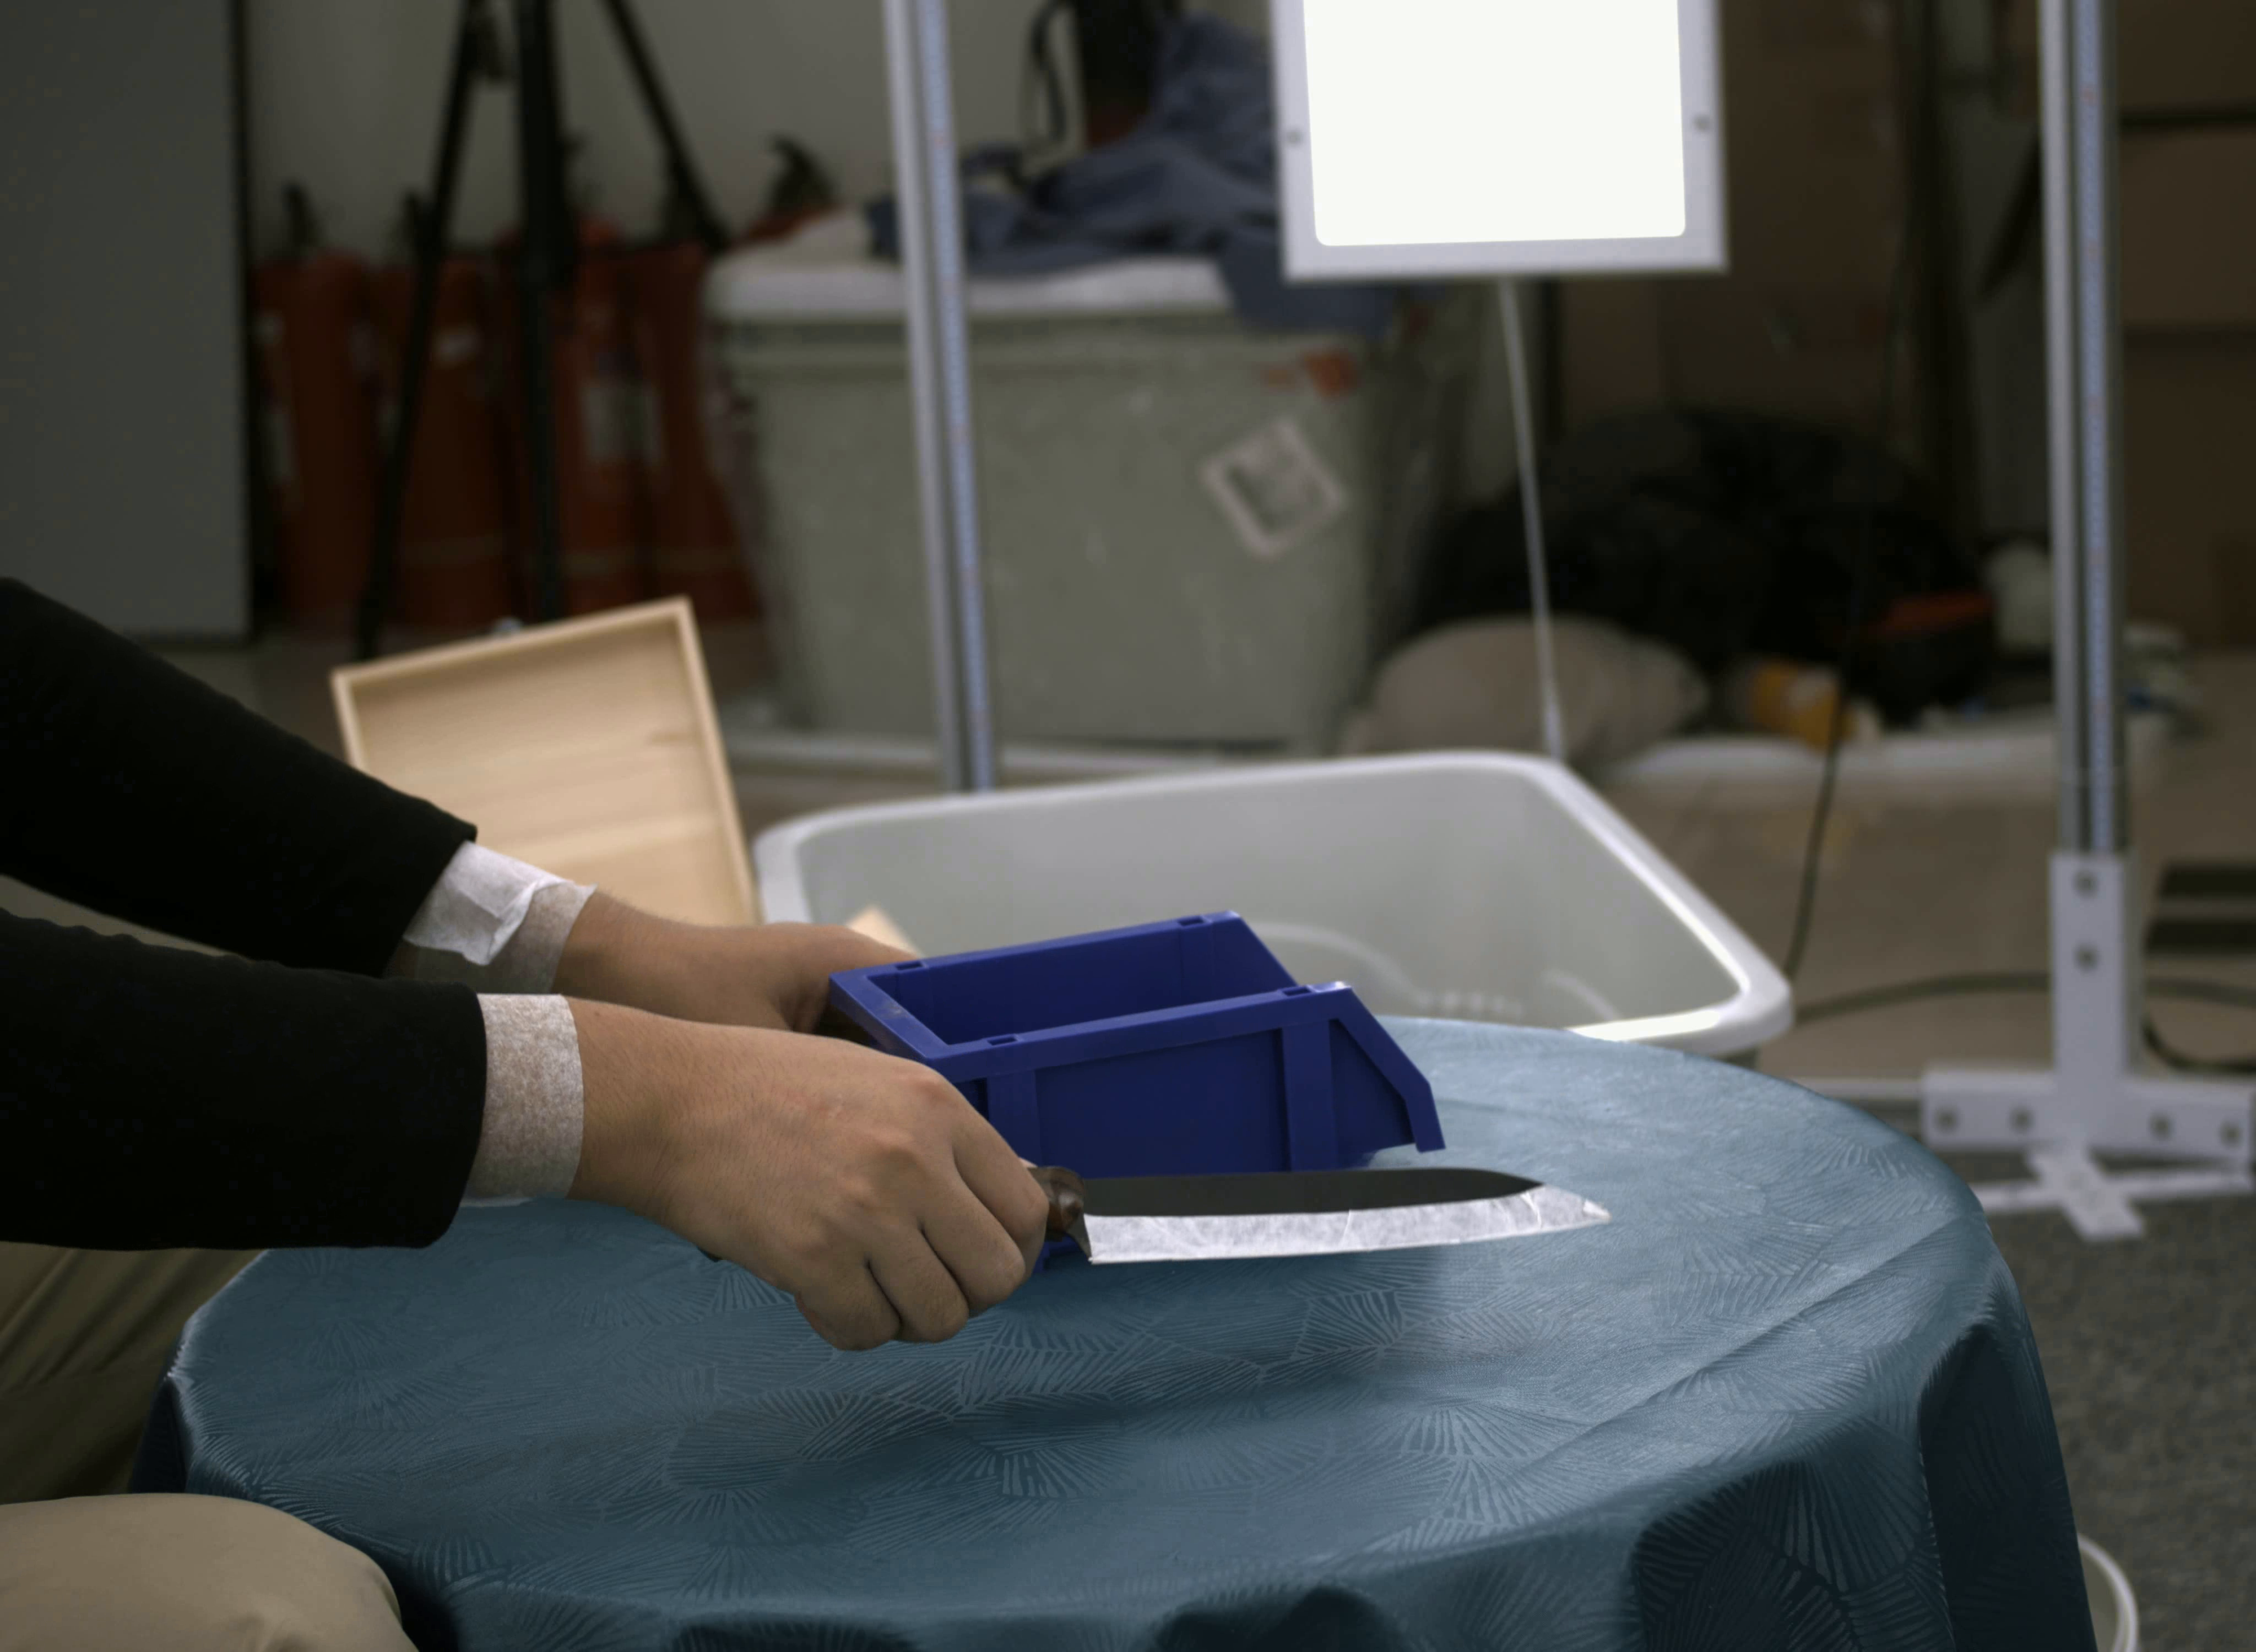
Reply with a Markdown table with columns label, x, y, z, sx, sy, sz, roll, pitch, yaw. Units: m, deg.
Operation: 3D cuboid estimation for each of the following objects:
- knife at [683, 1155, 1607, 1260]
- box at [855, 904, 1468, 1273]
| label | x | y | z | sx | sy | sz | roll | pitch | yaw |
| --- | --- | --- | --- | --- | --- | --- | --- | --- | --- |
| knife | 0.007 | 0.118 | 1.698 | 0.287 | 0.020 | 0.050 | -1 | 33 | -6 |
| box | 0.011 | 0.086 | 1.887 | 0.177 | 0.082 | 0.126 | -11 | 14 | -14 |
